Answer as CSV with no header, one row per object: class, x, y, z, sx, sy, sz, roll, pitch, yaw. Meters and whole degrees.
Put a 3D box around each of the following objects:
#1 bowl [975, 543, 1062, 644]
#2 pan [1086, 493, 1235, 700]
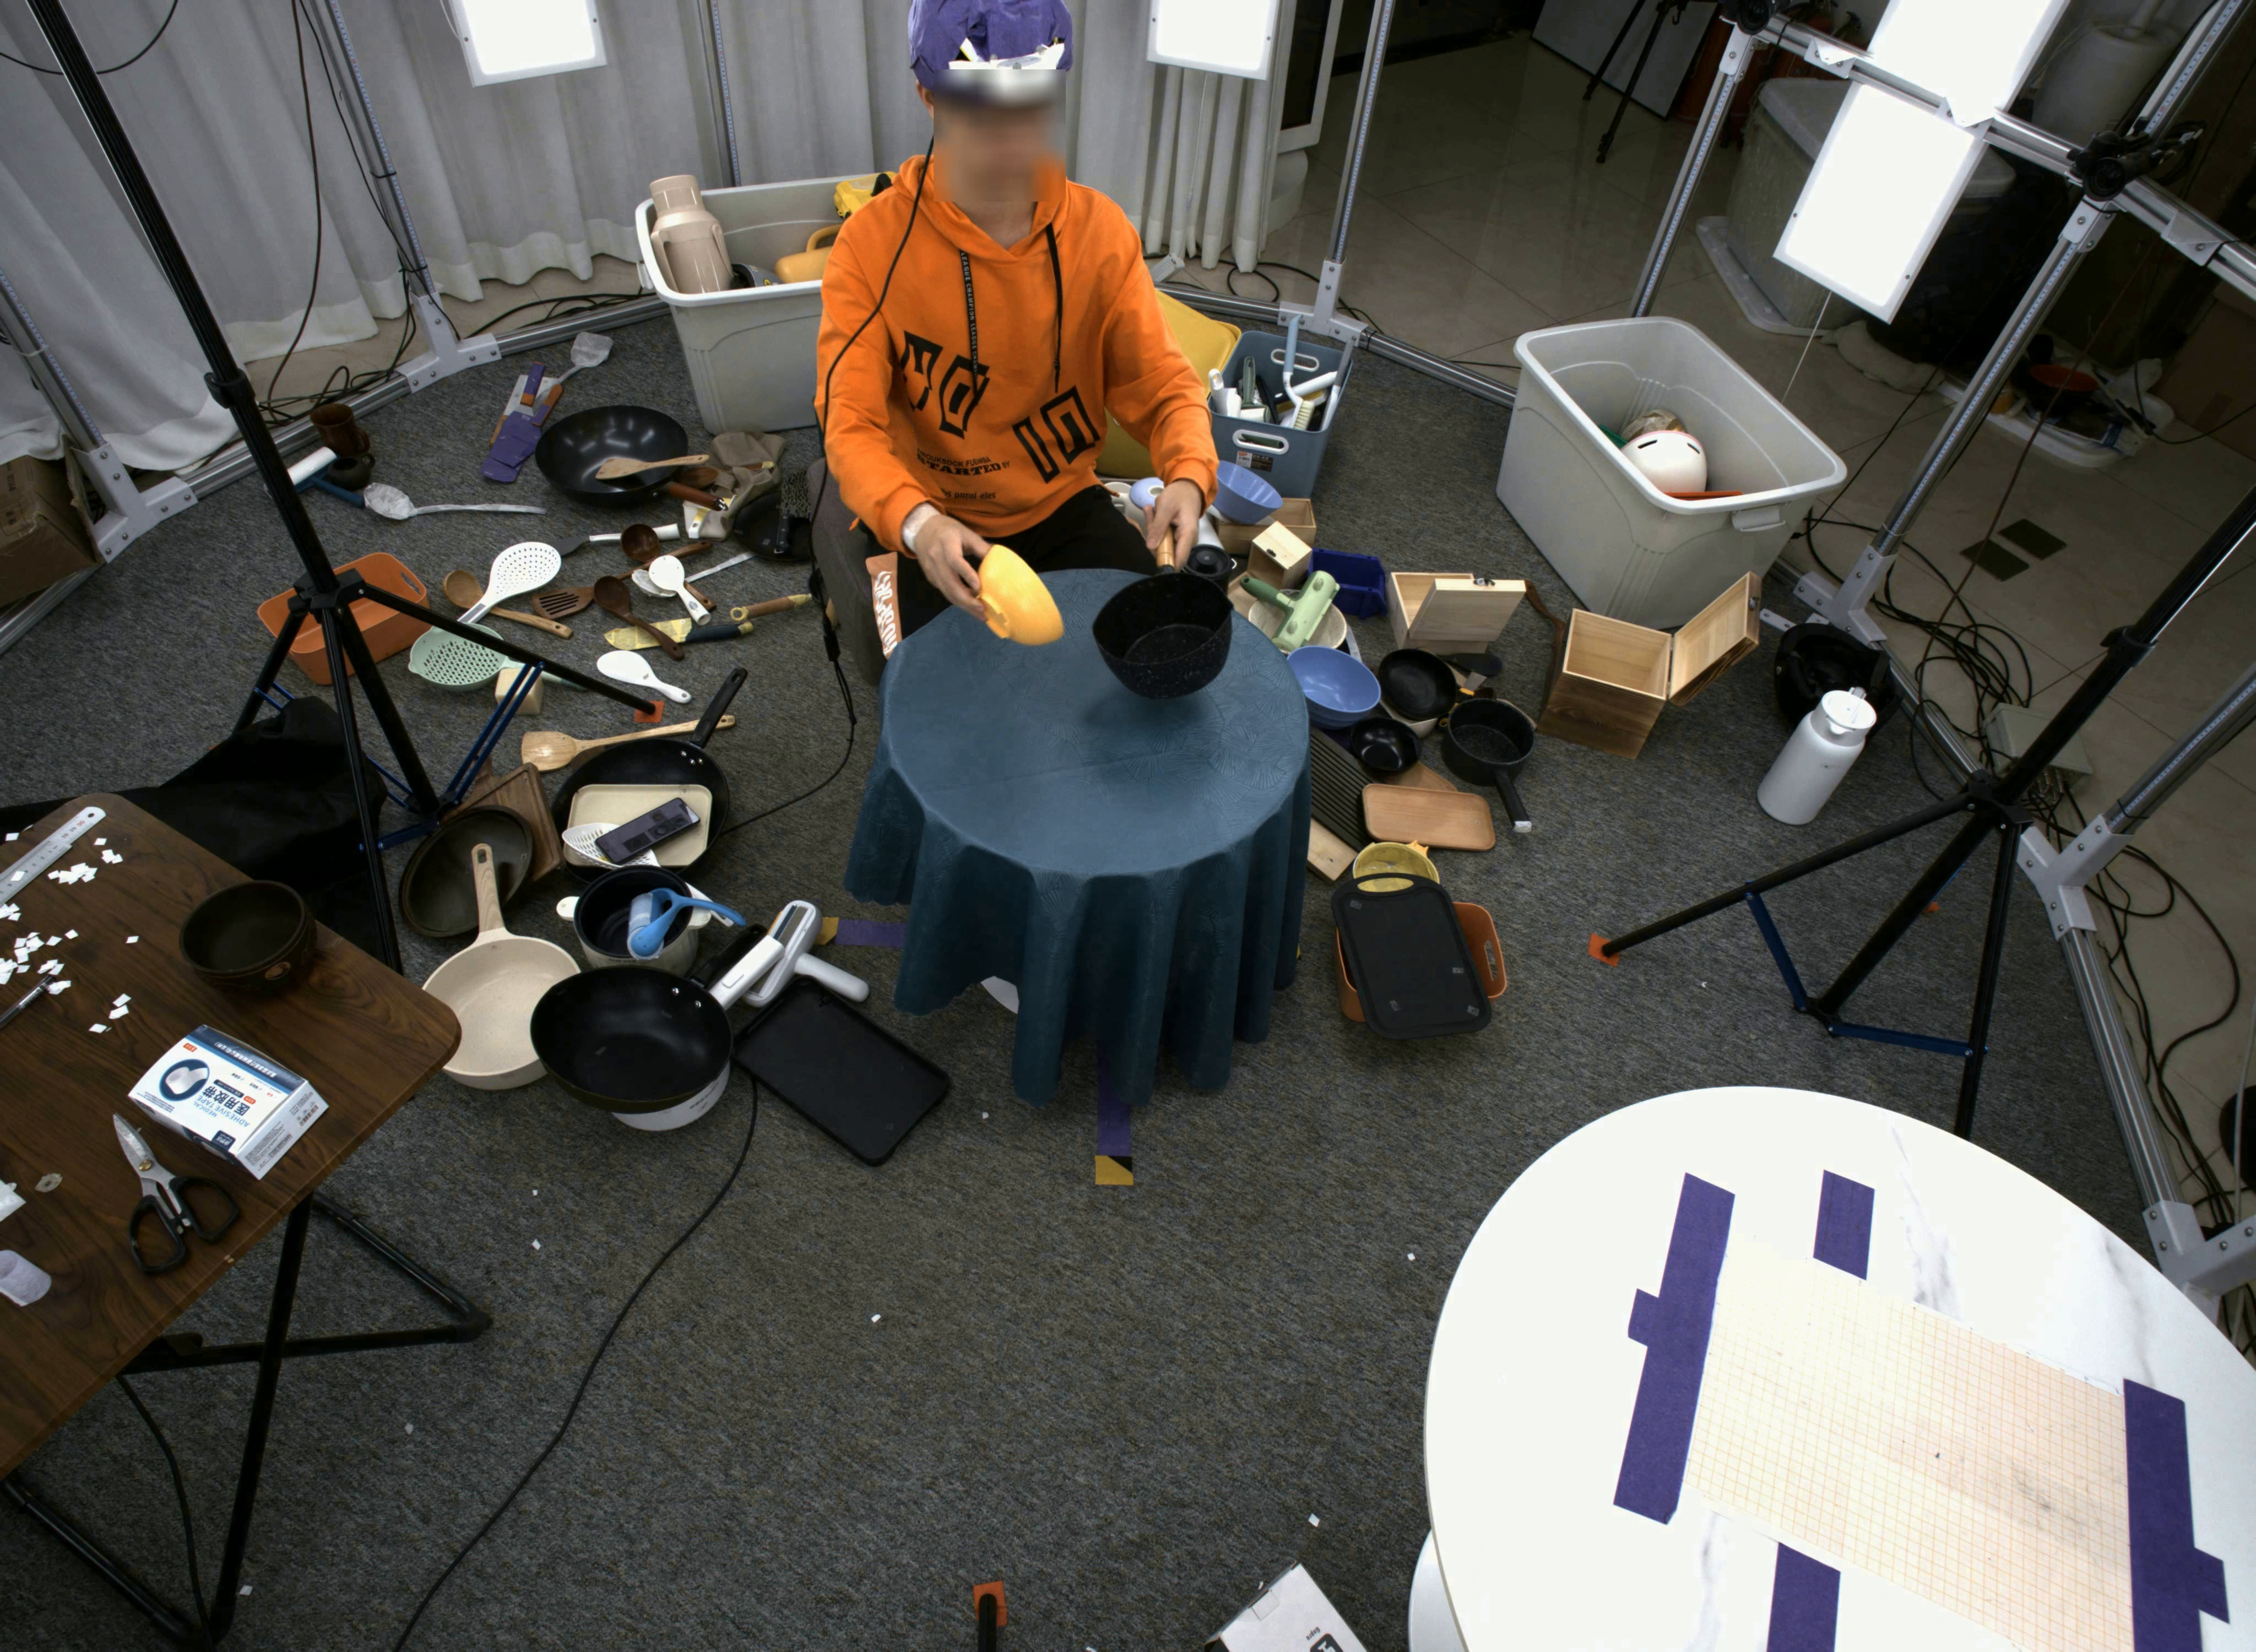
bowl,-0.151,-0.284,1.641,0.060,0.142,0.148,-39,61,-15
pan,0.052,-0.323,1.804,0.207,0.105,0.351,-8,48,12
